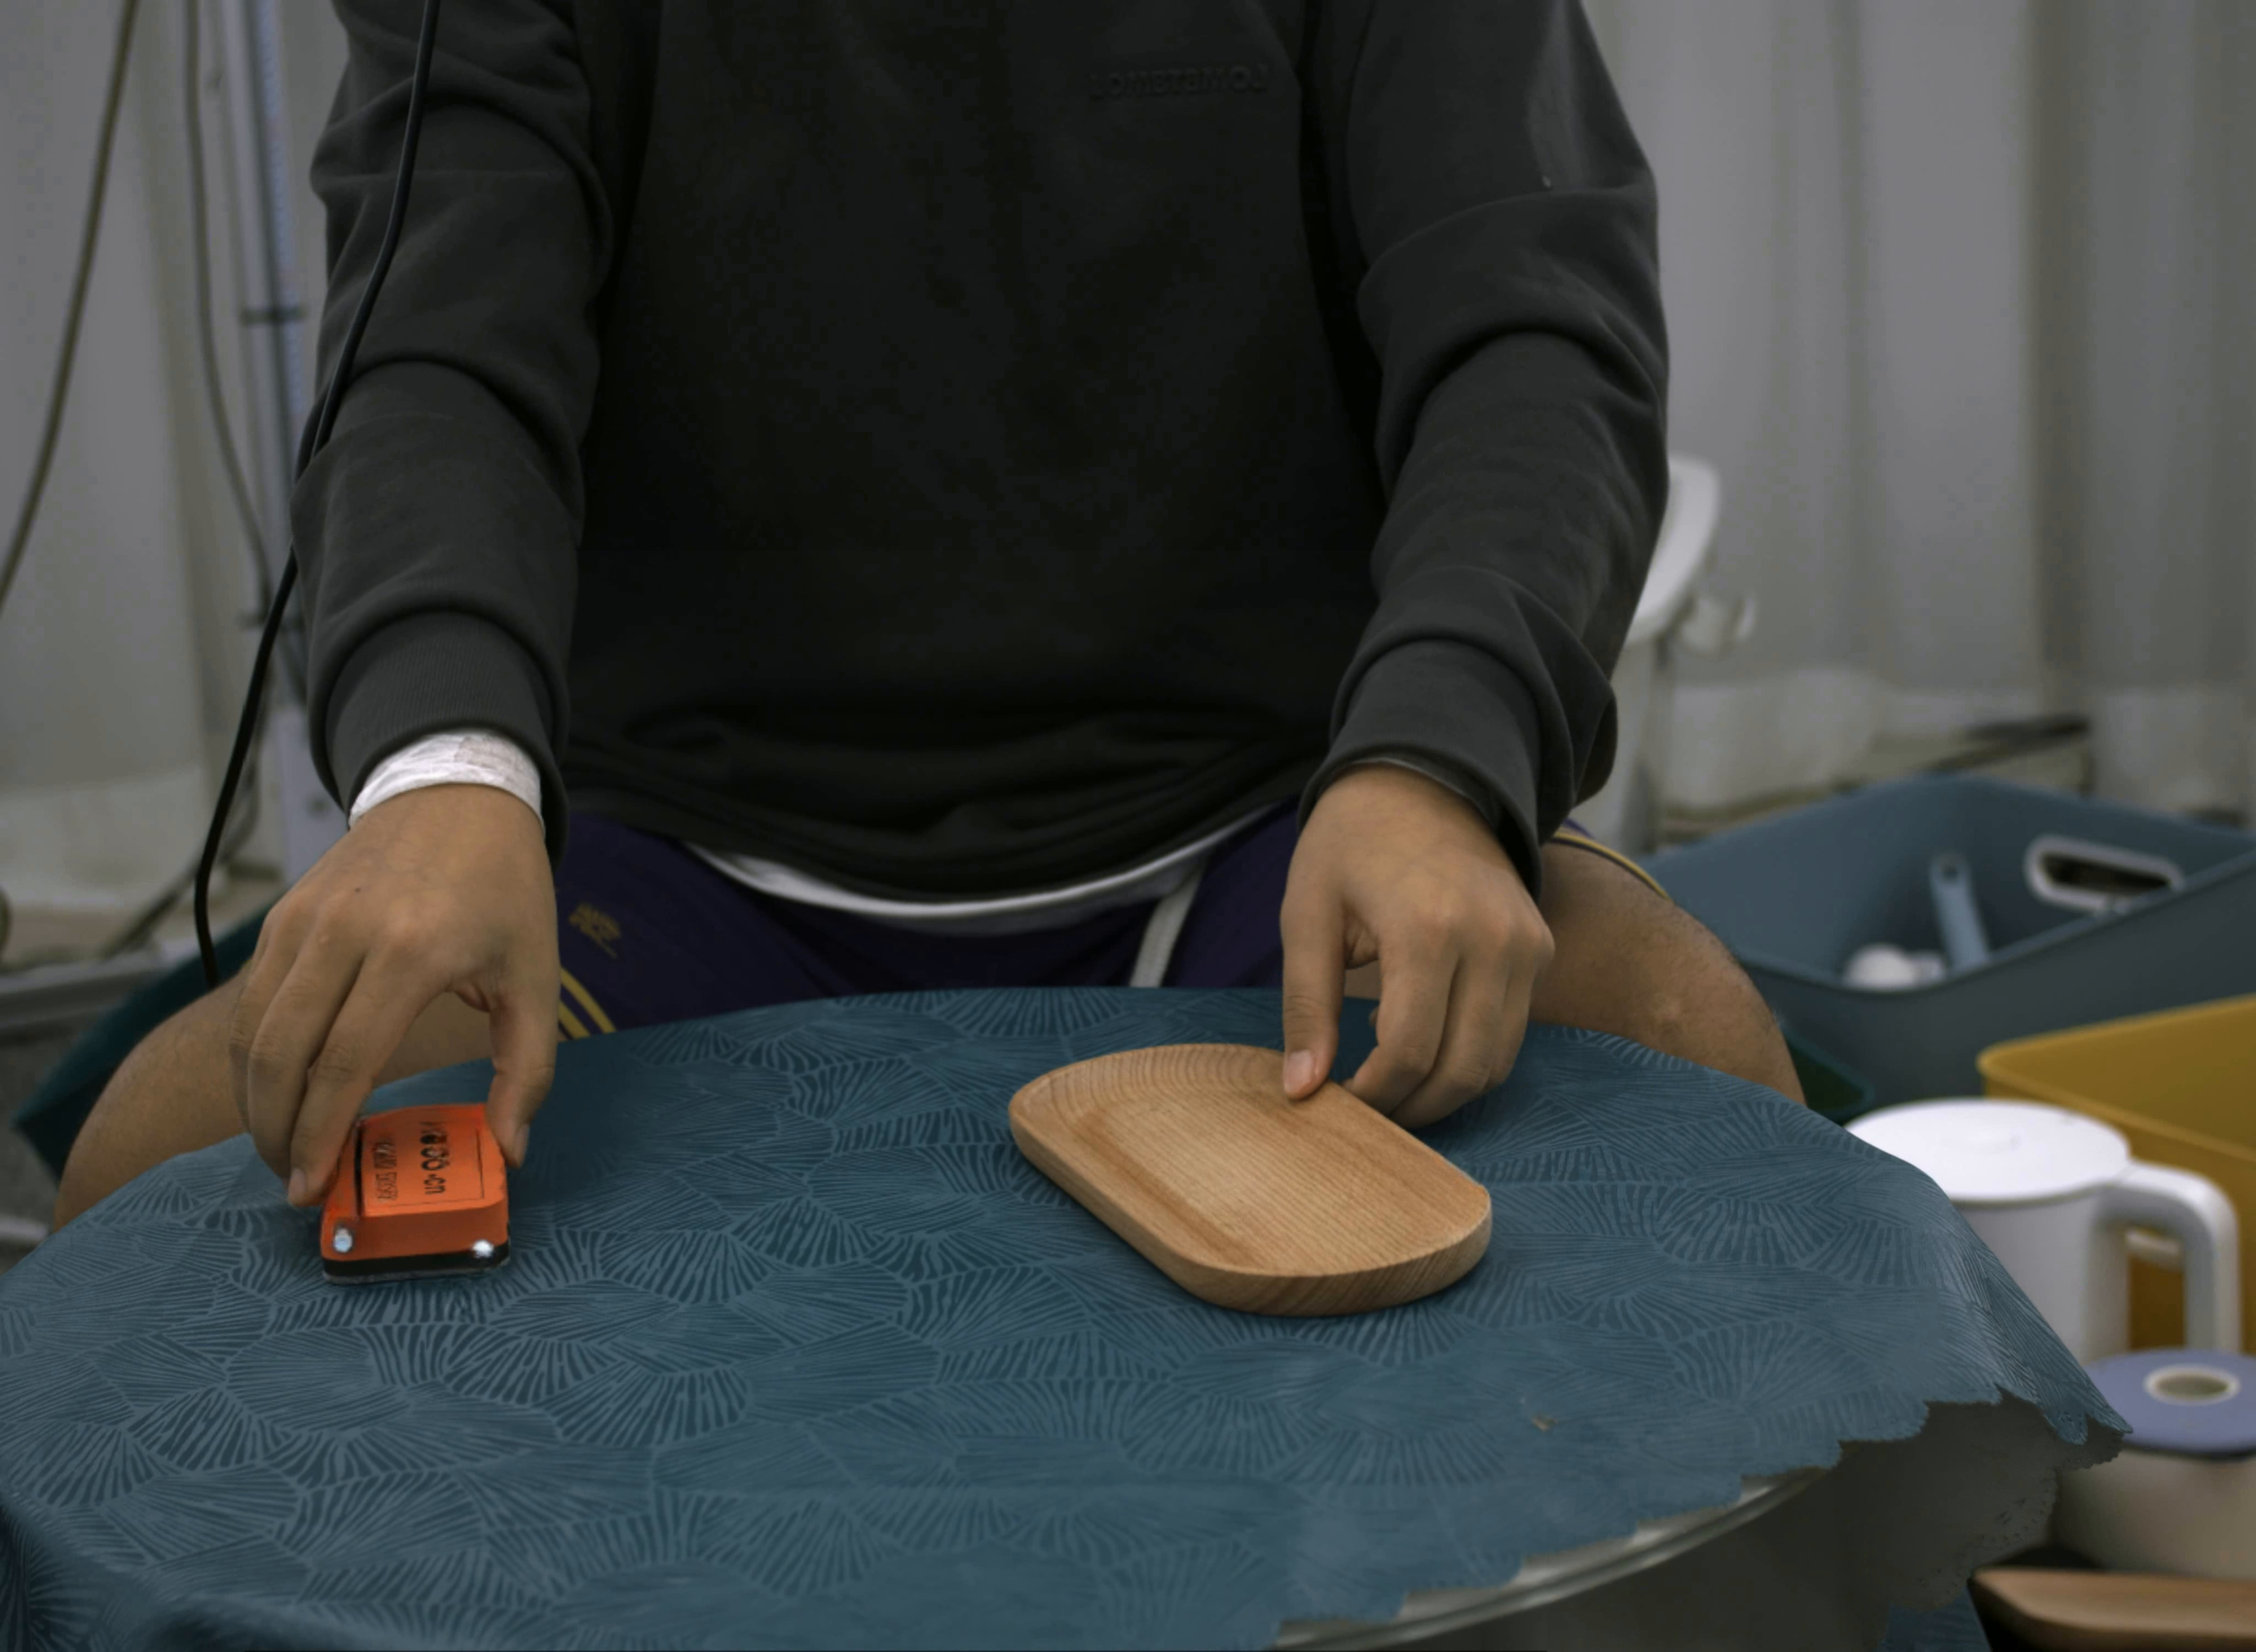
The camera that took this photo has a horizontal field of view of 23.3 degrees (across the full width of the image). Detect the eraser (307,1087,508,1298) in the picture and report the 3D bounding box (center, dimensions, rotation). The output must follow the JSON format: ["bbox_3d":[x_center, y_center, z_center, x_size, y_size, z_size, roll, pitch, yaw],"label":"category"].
[{"bbox_3d":[-0.225,0.114,1.716,0.058,0.023,0.109,20,11,-10],"label":"eraser"}]

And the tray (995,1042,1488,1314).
[{"bbox_3d":[0.033,0.108,1.700,0.101,0.020,0.233,-10,16,-20],"label":"tray"}]
